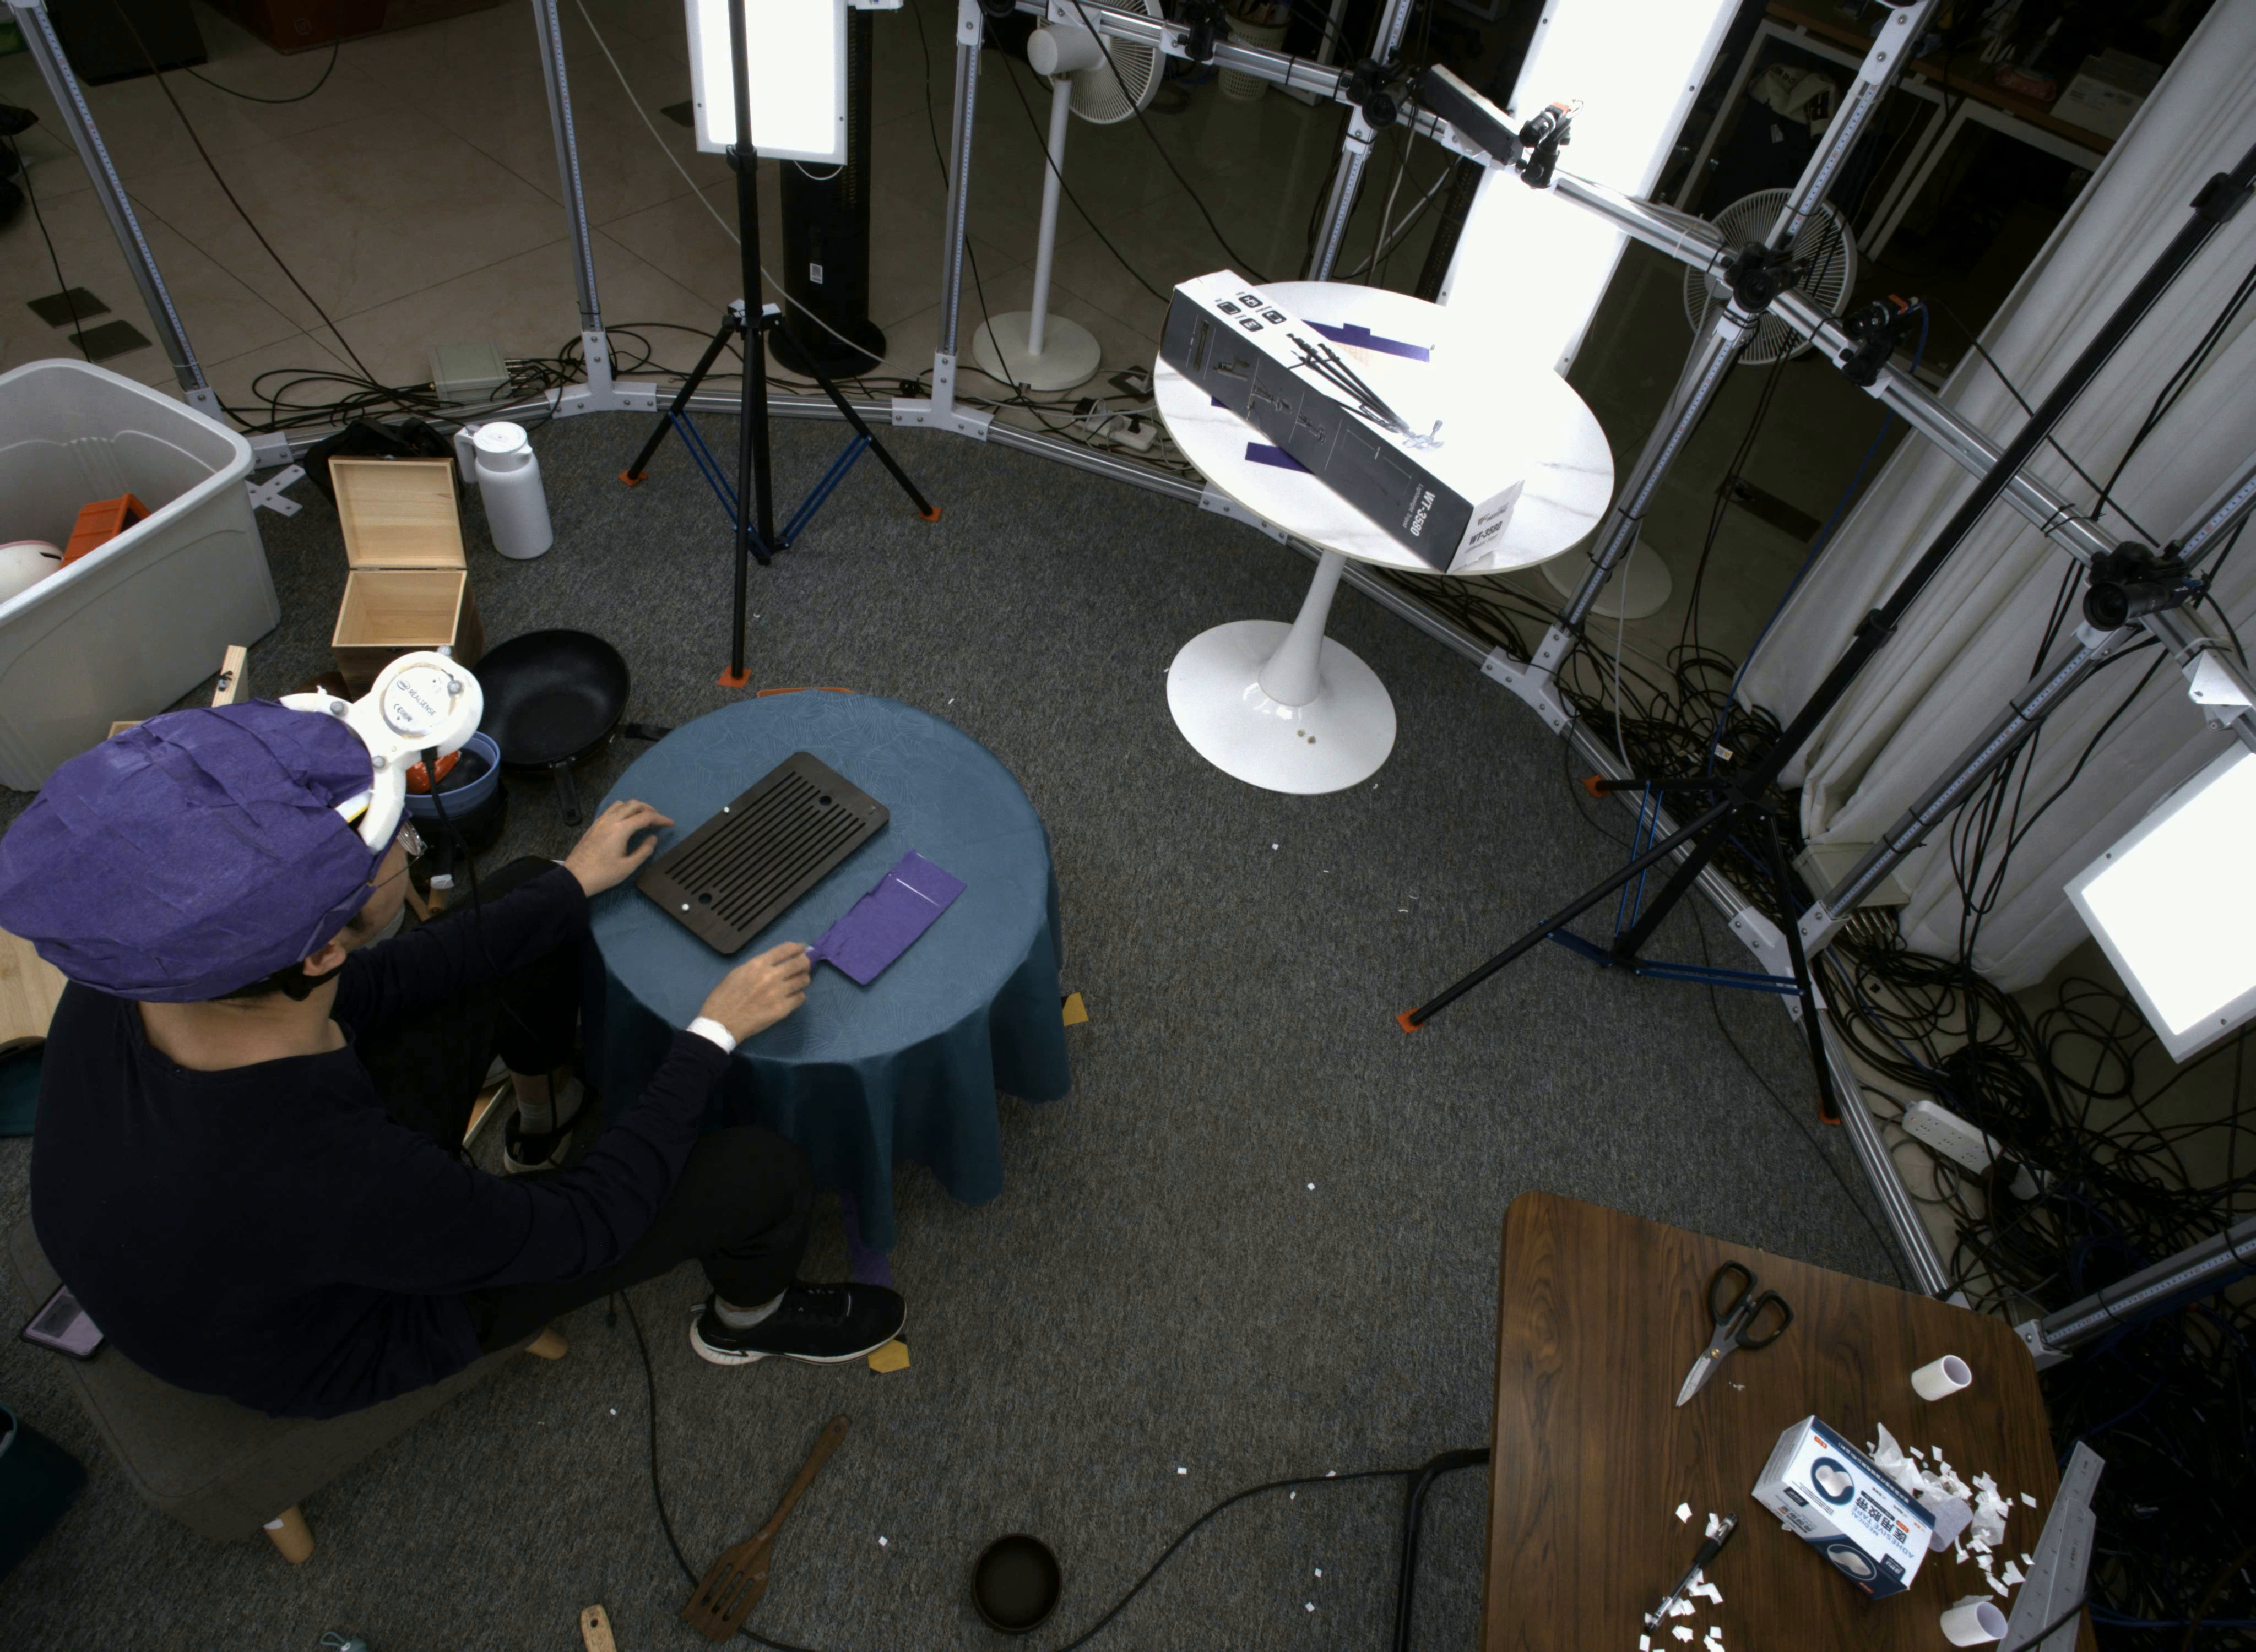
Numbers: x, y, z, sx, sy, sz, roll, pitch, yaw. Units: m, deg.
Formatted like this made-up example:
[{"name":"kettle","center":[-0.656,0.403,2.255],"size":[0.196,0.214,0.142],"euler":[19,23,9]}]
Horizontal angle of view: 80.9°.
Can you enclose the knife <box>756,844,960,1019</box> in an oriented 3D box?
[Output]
[{"name":"knife","center":[-0.331,0.139,1.639],"size":[0.102,0.033,0.314],"euler":[32,53,11]}]

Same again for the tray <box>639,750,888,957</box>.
[{"name":"tray","center":[-0.472,0.029,1.690],"size":[0.167,0.019,0.305],"euler":[35,54,12]}]
